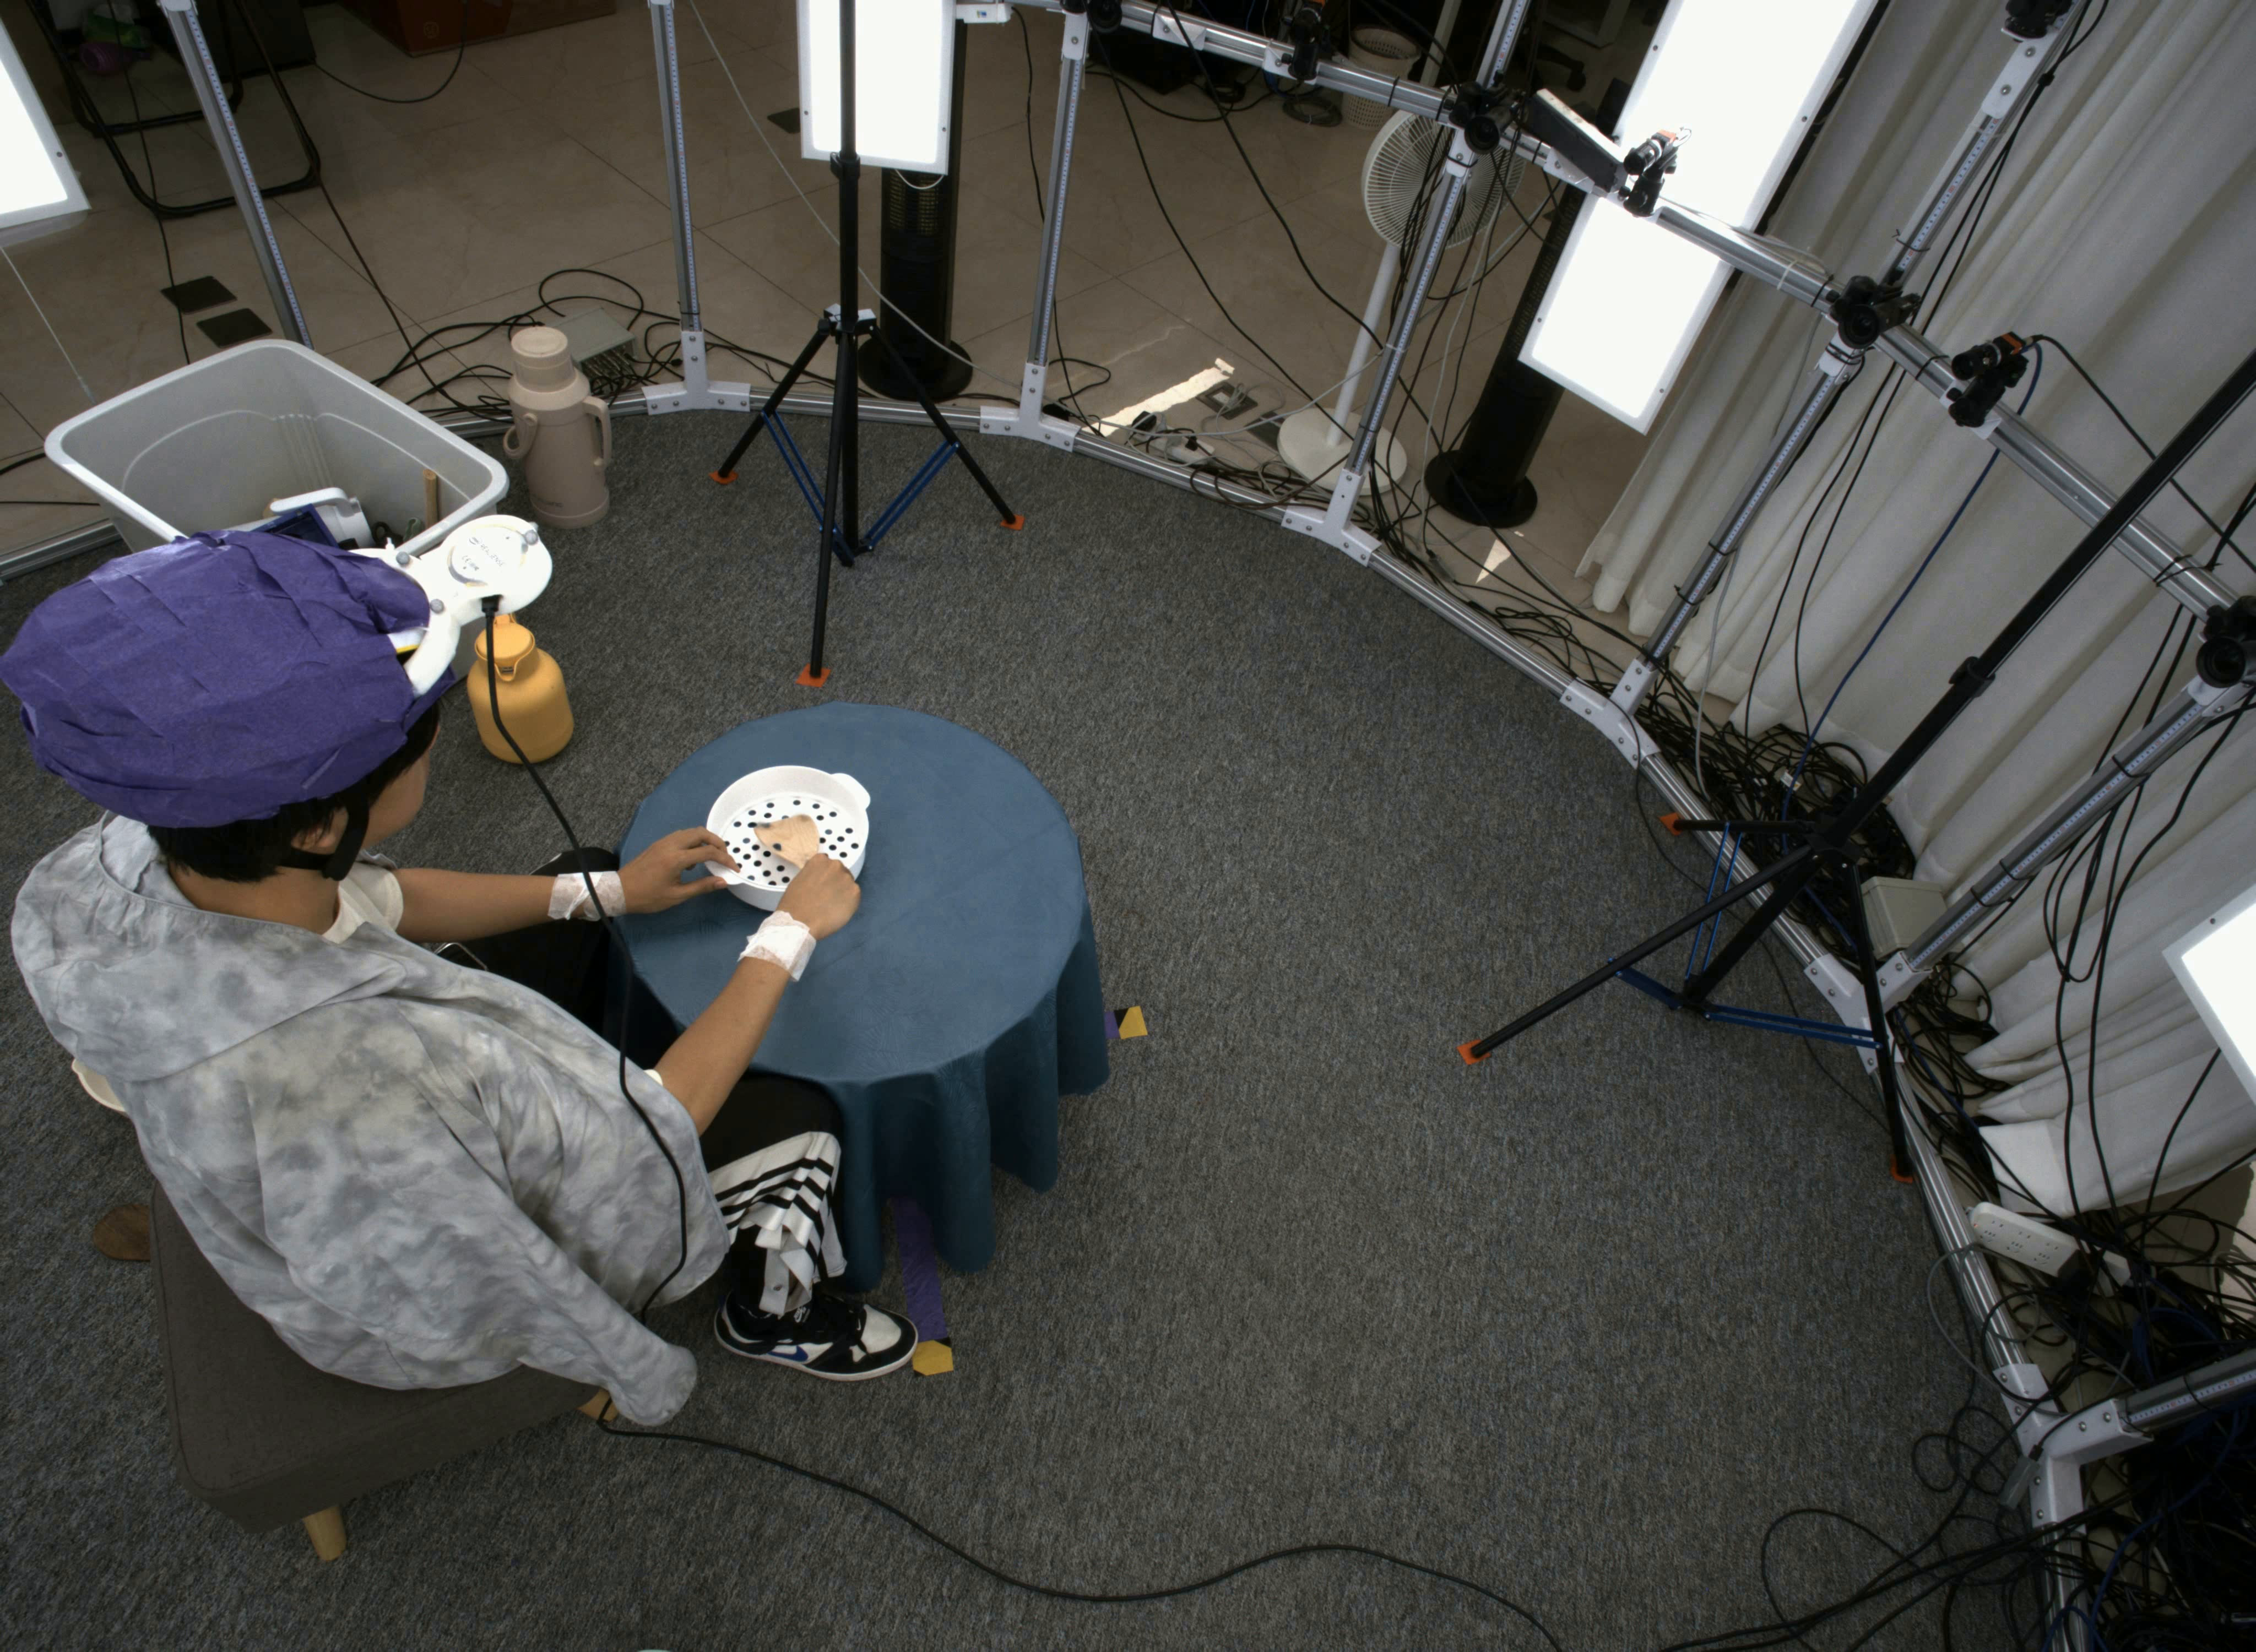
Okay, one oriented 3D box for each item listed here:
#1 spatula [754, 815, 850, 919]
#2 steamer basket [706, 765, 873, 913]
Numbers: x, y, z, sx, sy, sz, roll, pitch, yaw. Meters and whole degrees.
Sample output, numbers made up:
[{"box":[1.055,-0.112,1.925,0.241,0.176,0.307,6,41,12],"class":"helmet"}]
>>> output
[{"box":[-0.388,0.046,1.570,0.080,0.017,0.316,-10,22,-24],"class":"spatula"},{"box":[-0.431,0.017,1.670,0.231,0.071,0.197,-35,67,-31],"class":"steamer basket"}]
